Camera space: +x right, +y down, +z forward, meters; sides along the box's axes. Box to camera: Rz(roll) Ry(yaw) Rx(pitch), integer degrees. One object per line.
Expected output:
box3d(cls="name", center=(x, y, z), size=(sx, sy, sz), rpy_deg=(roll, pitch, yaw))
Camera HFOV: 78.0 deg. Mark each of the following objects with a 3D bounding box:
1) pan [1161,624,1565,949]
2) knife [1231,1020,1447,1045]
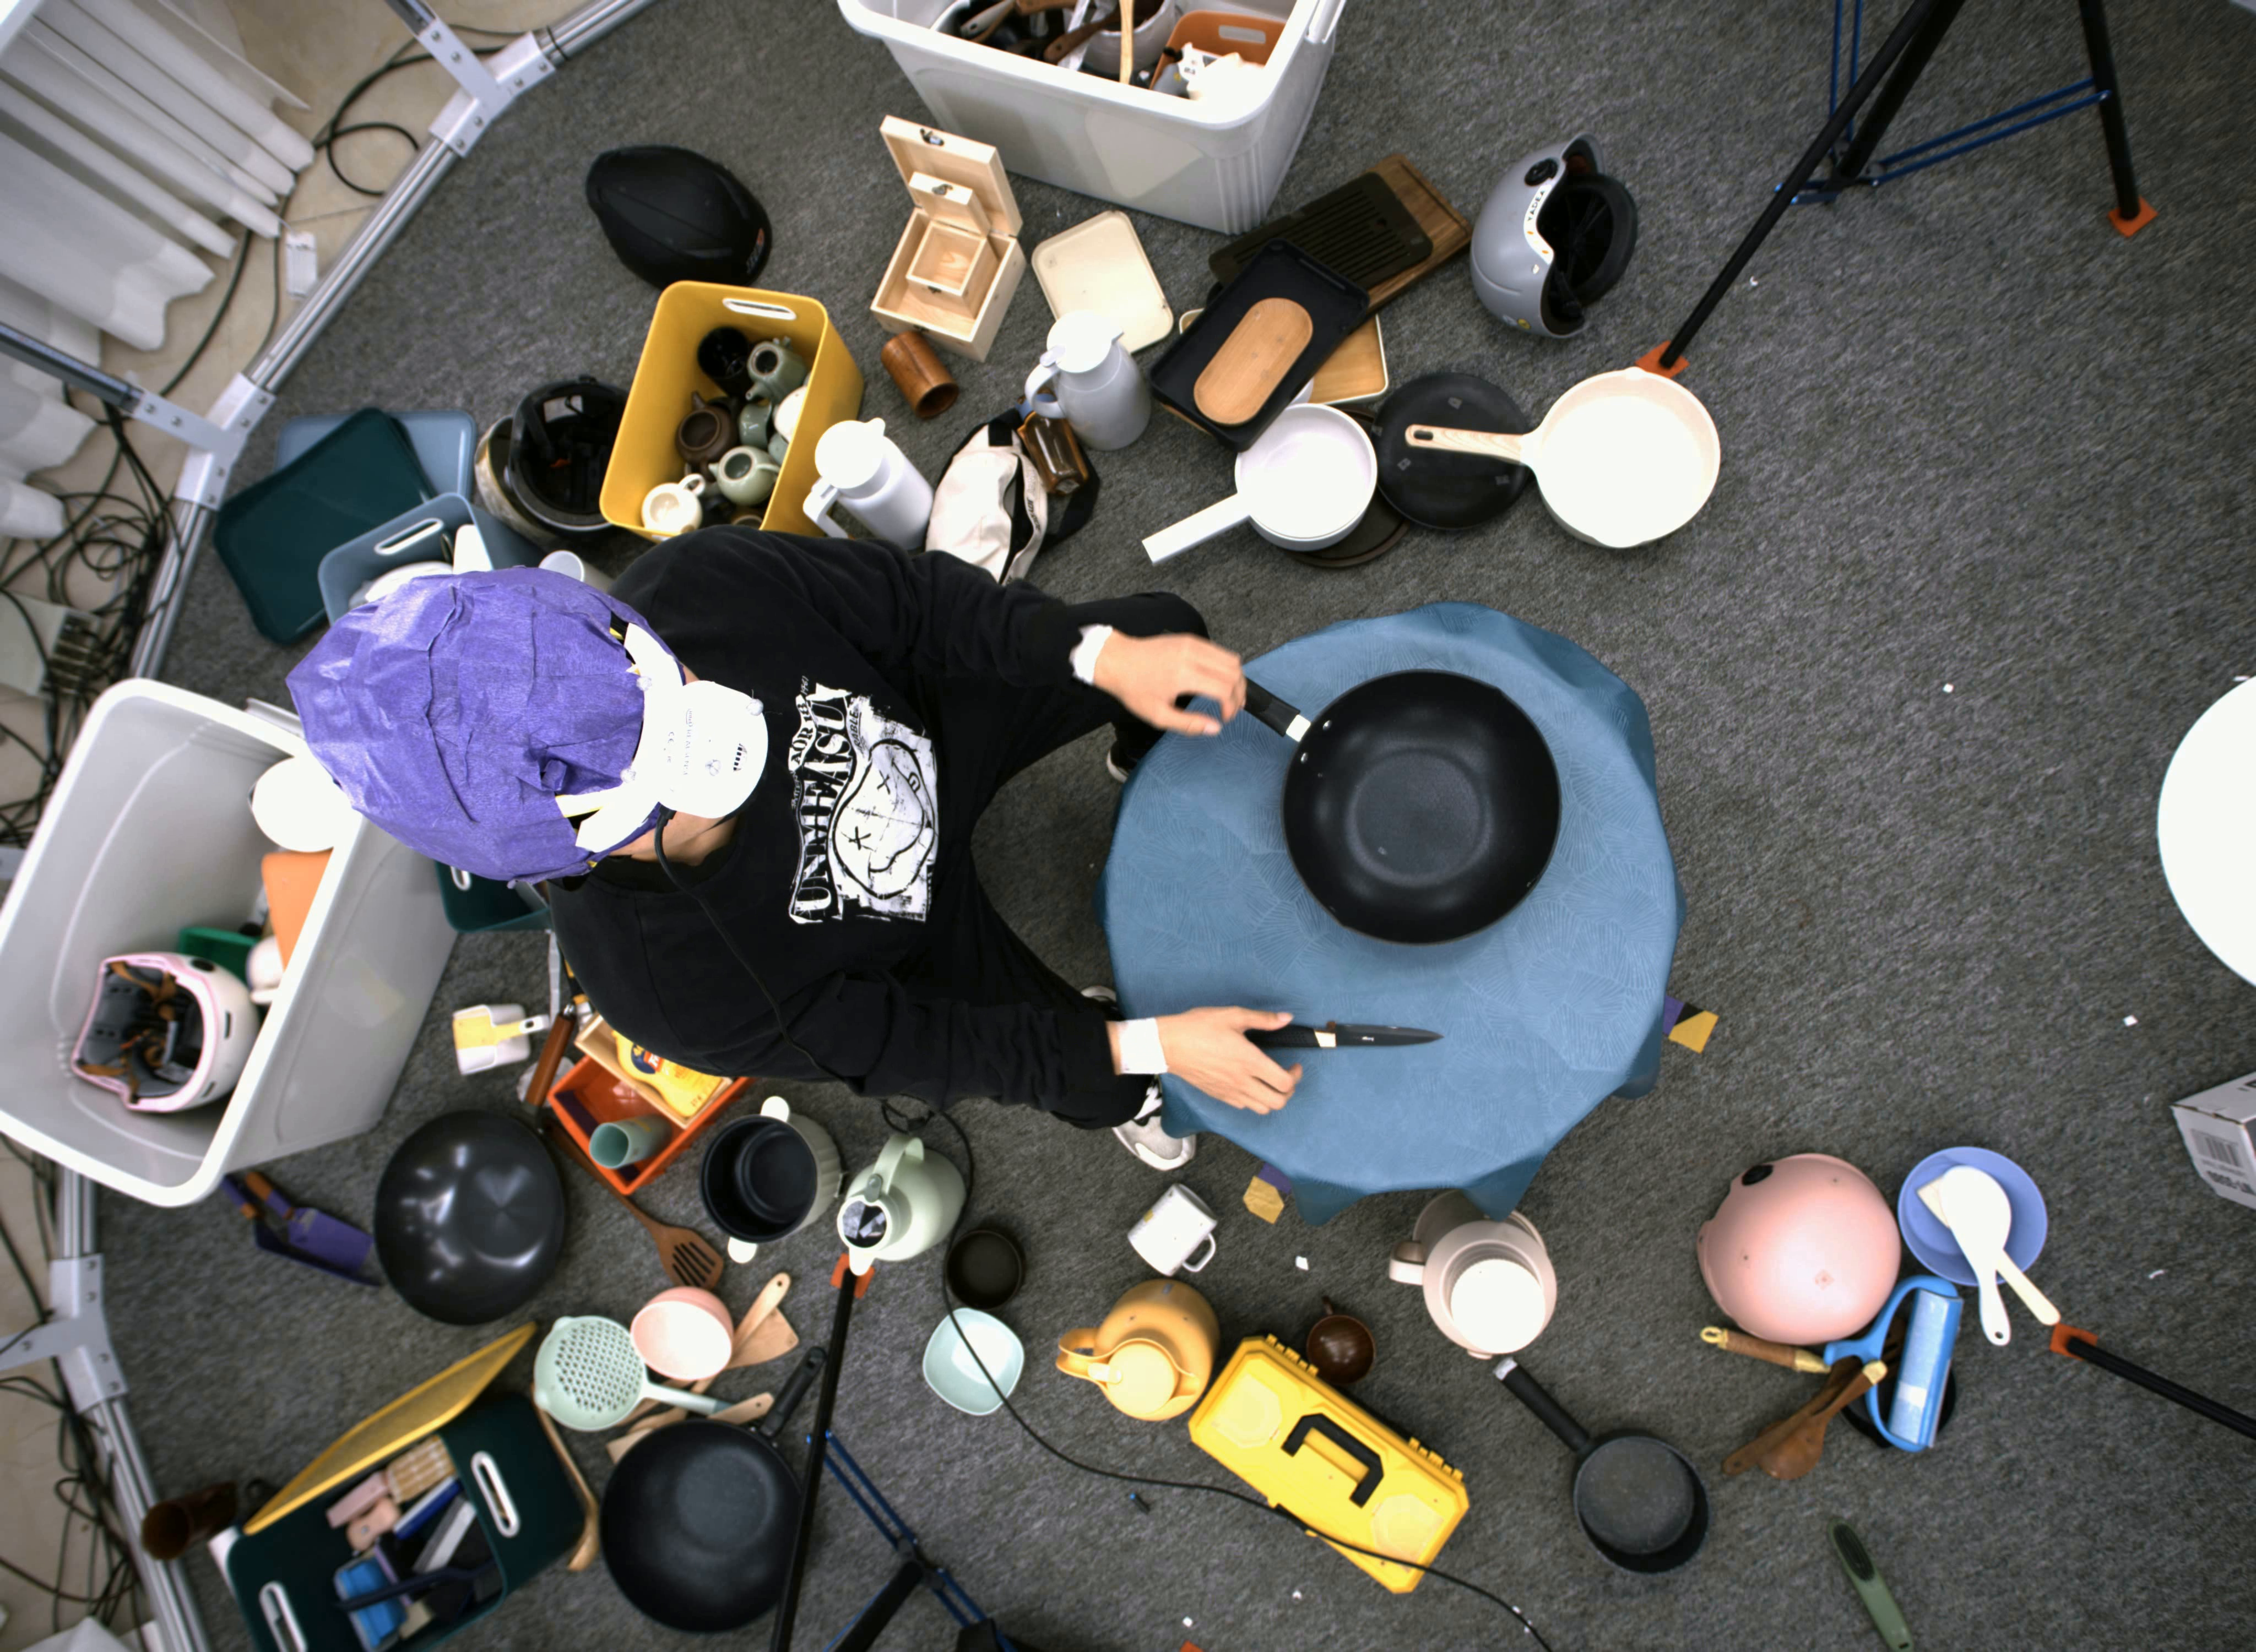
box3d(cls="pan", center=(0.228, -0.065, 1.436), size=(0.462, 0.087, 0.289), rpy_deg=(35, 94, 12))
box3d(cls="knife", center=(0.222, 0.217, 1.459), size=(0.226, 0.017, 0.026), rpy_deg=(-2, 71, 10))
